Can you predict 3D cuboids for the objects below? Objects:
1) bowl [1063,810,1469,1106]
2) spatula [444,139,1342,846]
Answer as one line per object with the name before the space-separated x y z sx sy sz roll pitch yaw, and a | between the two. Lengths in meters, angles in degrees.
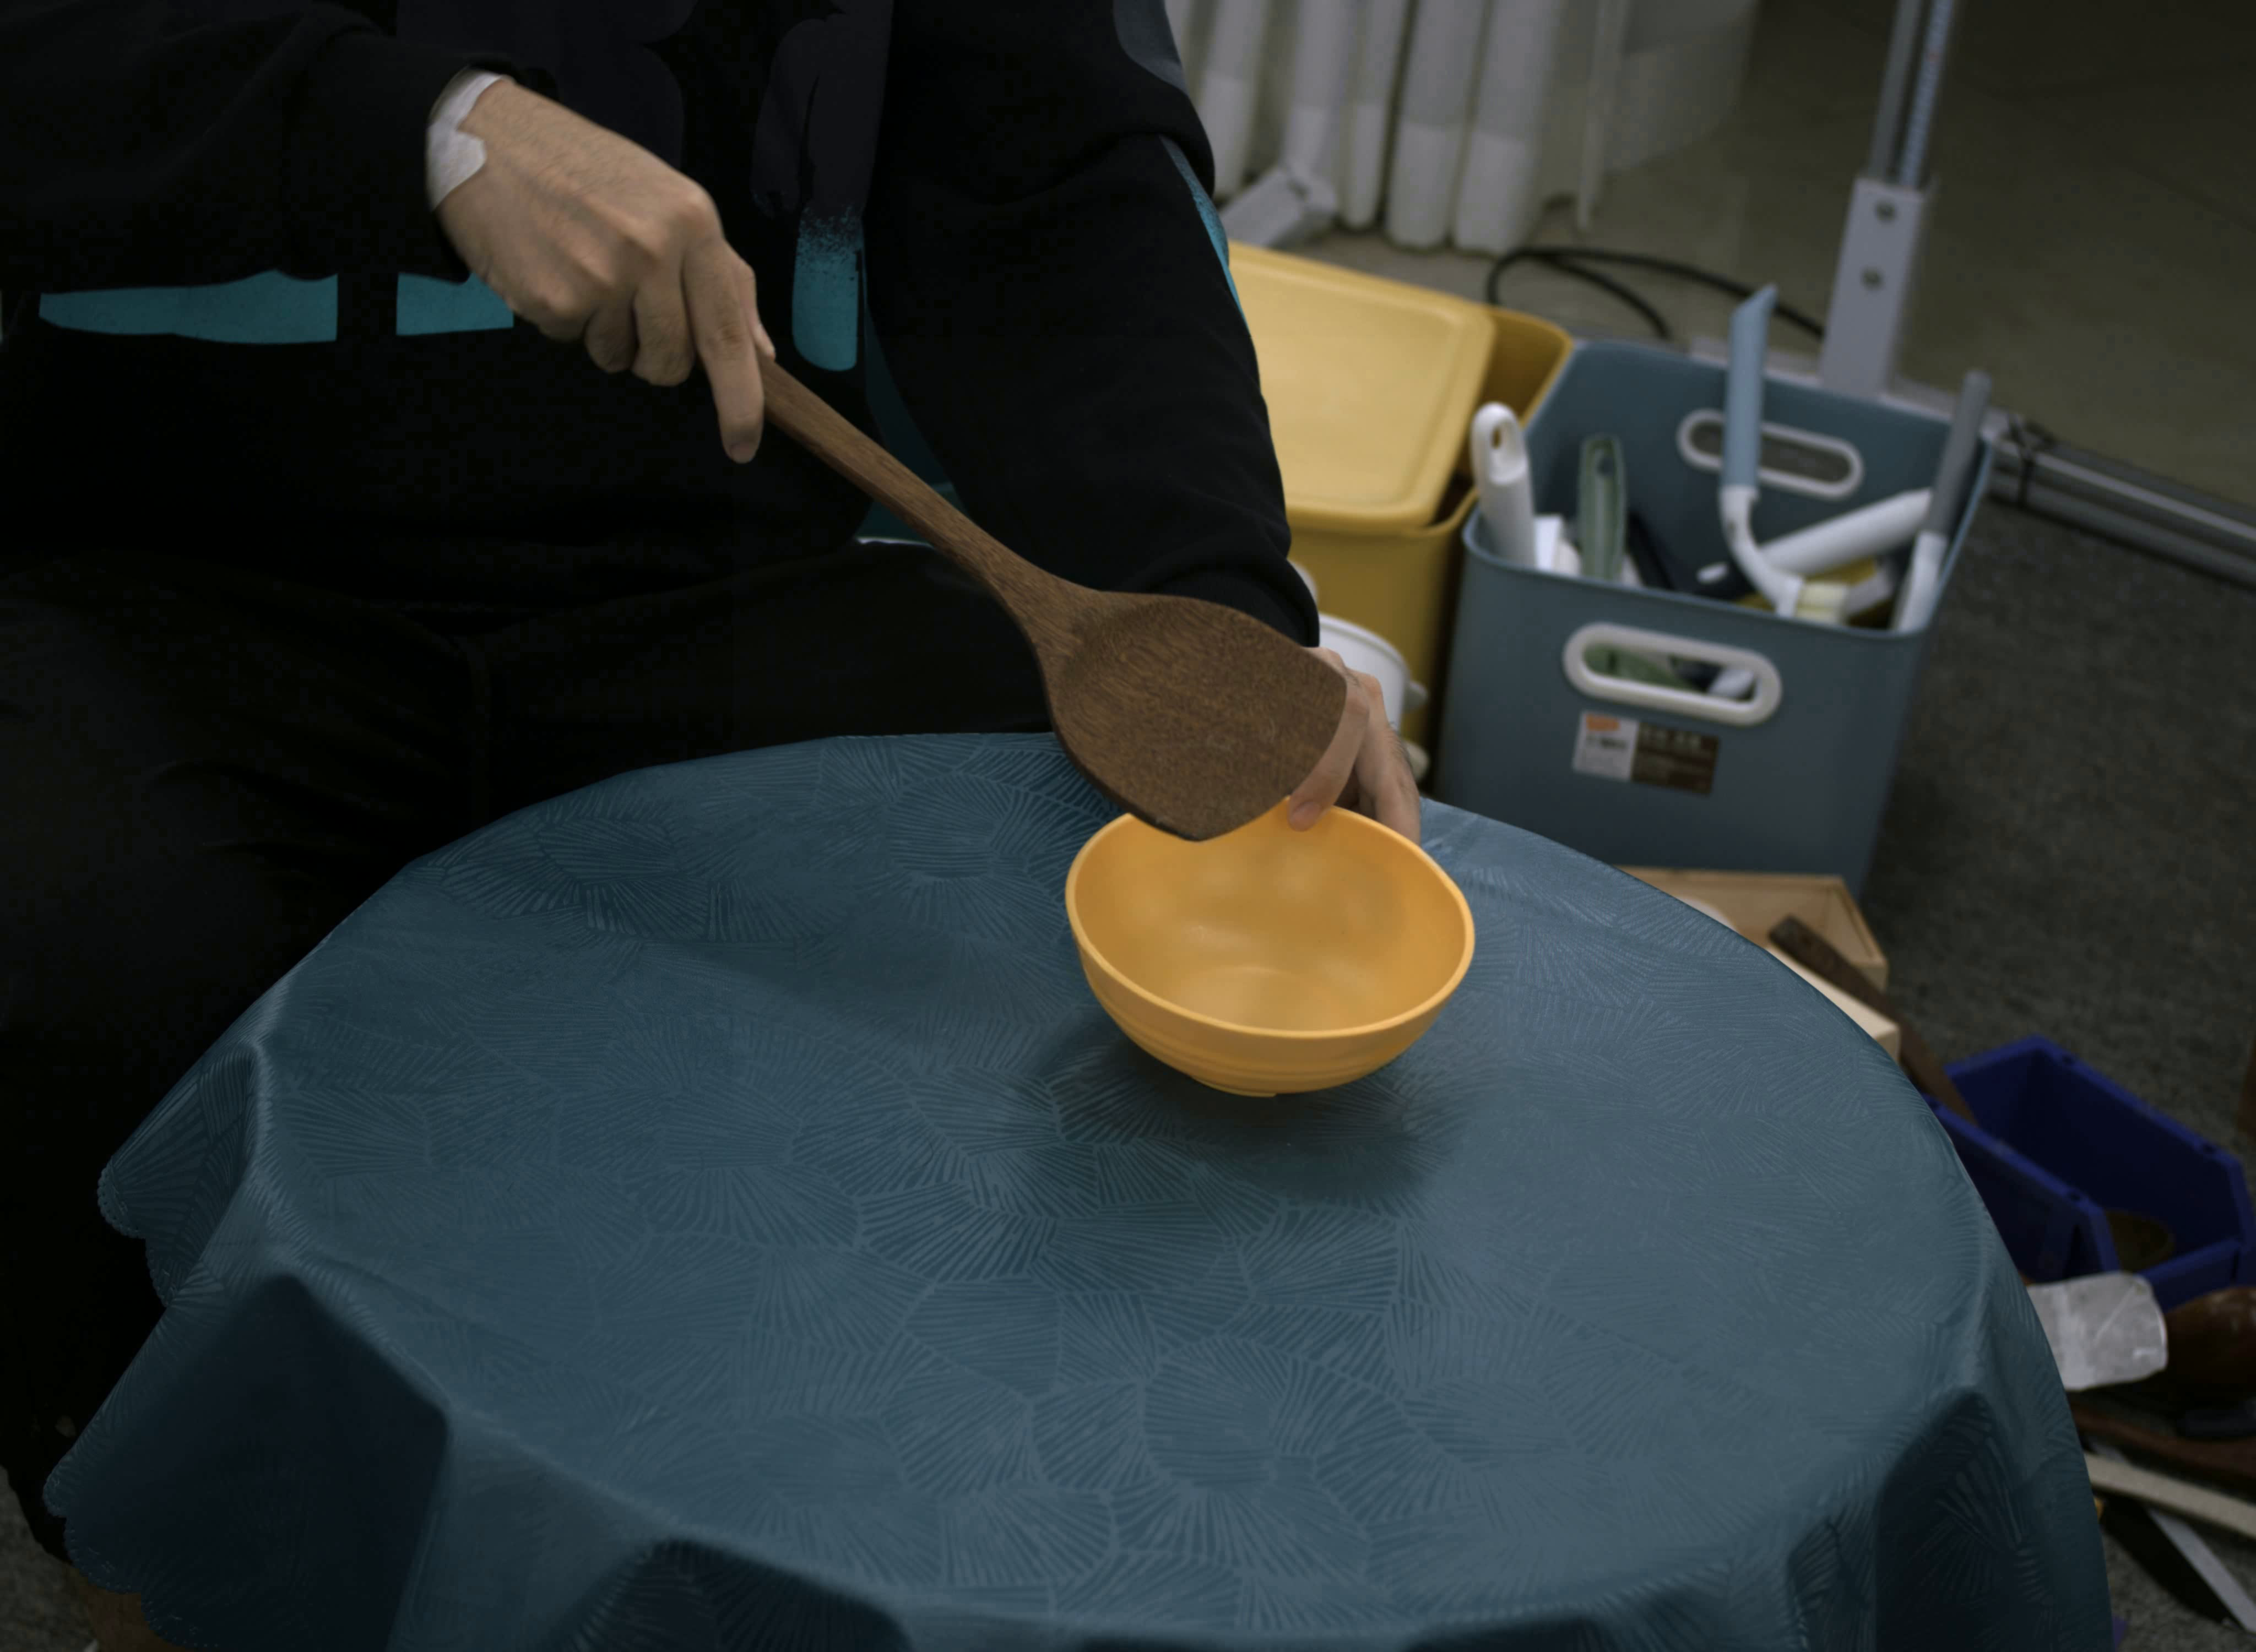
bowl | 0.044 0.056 1.876 0.145 0.060 0.146 6 32 -4
spatula | -0.092 -0.126 1.856 0.387 0.016 0.096 38 58 12
